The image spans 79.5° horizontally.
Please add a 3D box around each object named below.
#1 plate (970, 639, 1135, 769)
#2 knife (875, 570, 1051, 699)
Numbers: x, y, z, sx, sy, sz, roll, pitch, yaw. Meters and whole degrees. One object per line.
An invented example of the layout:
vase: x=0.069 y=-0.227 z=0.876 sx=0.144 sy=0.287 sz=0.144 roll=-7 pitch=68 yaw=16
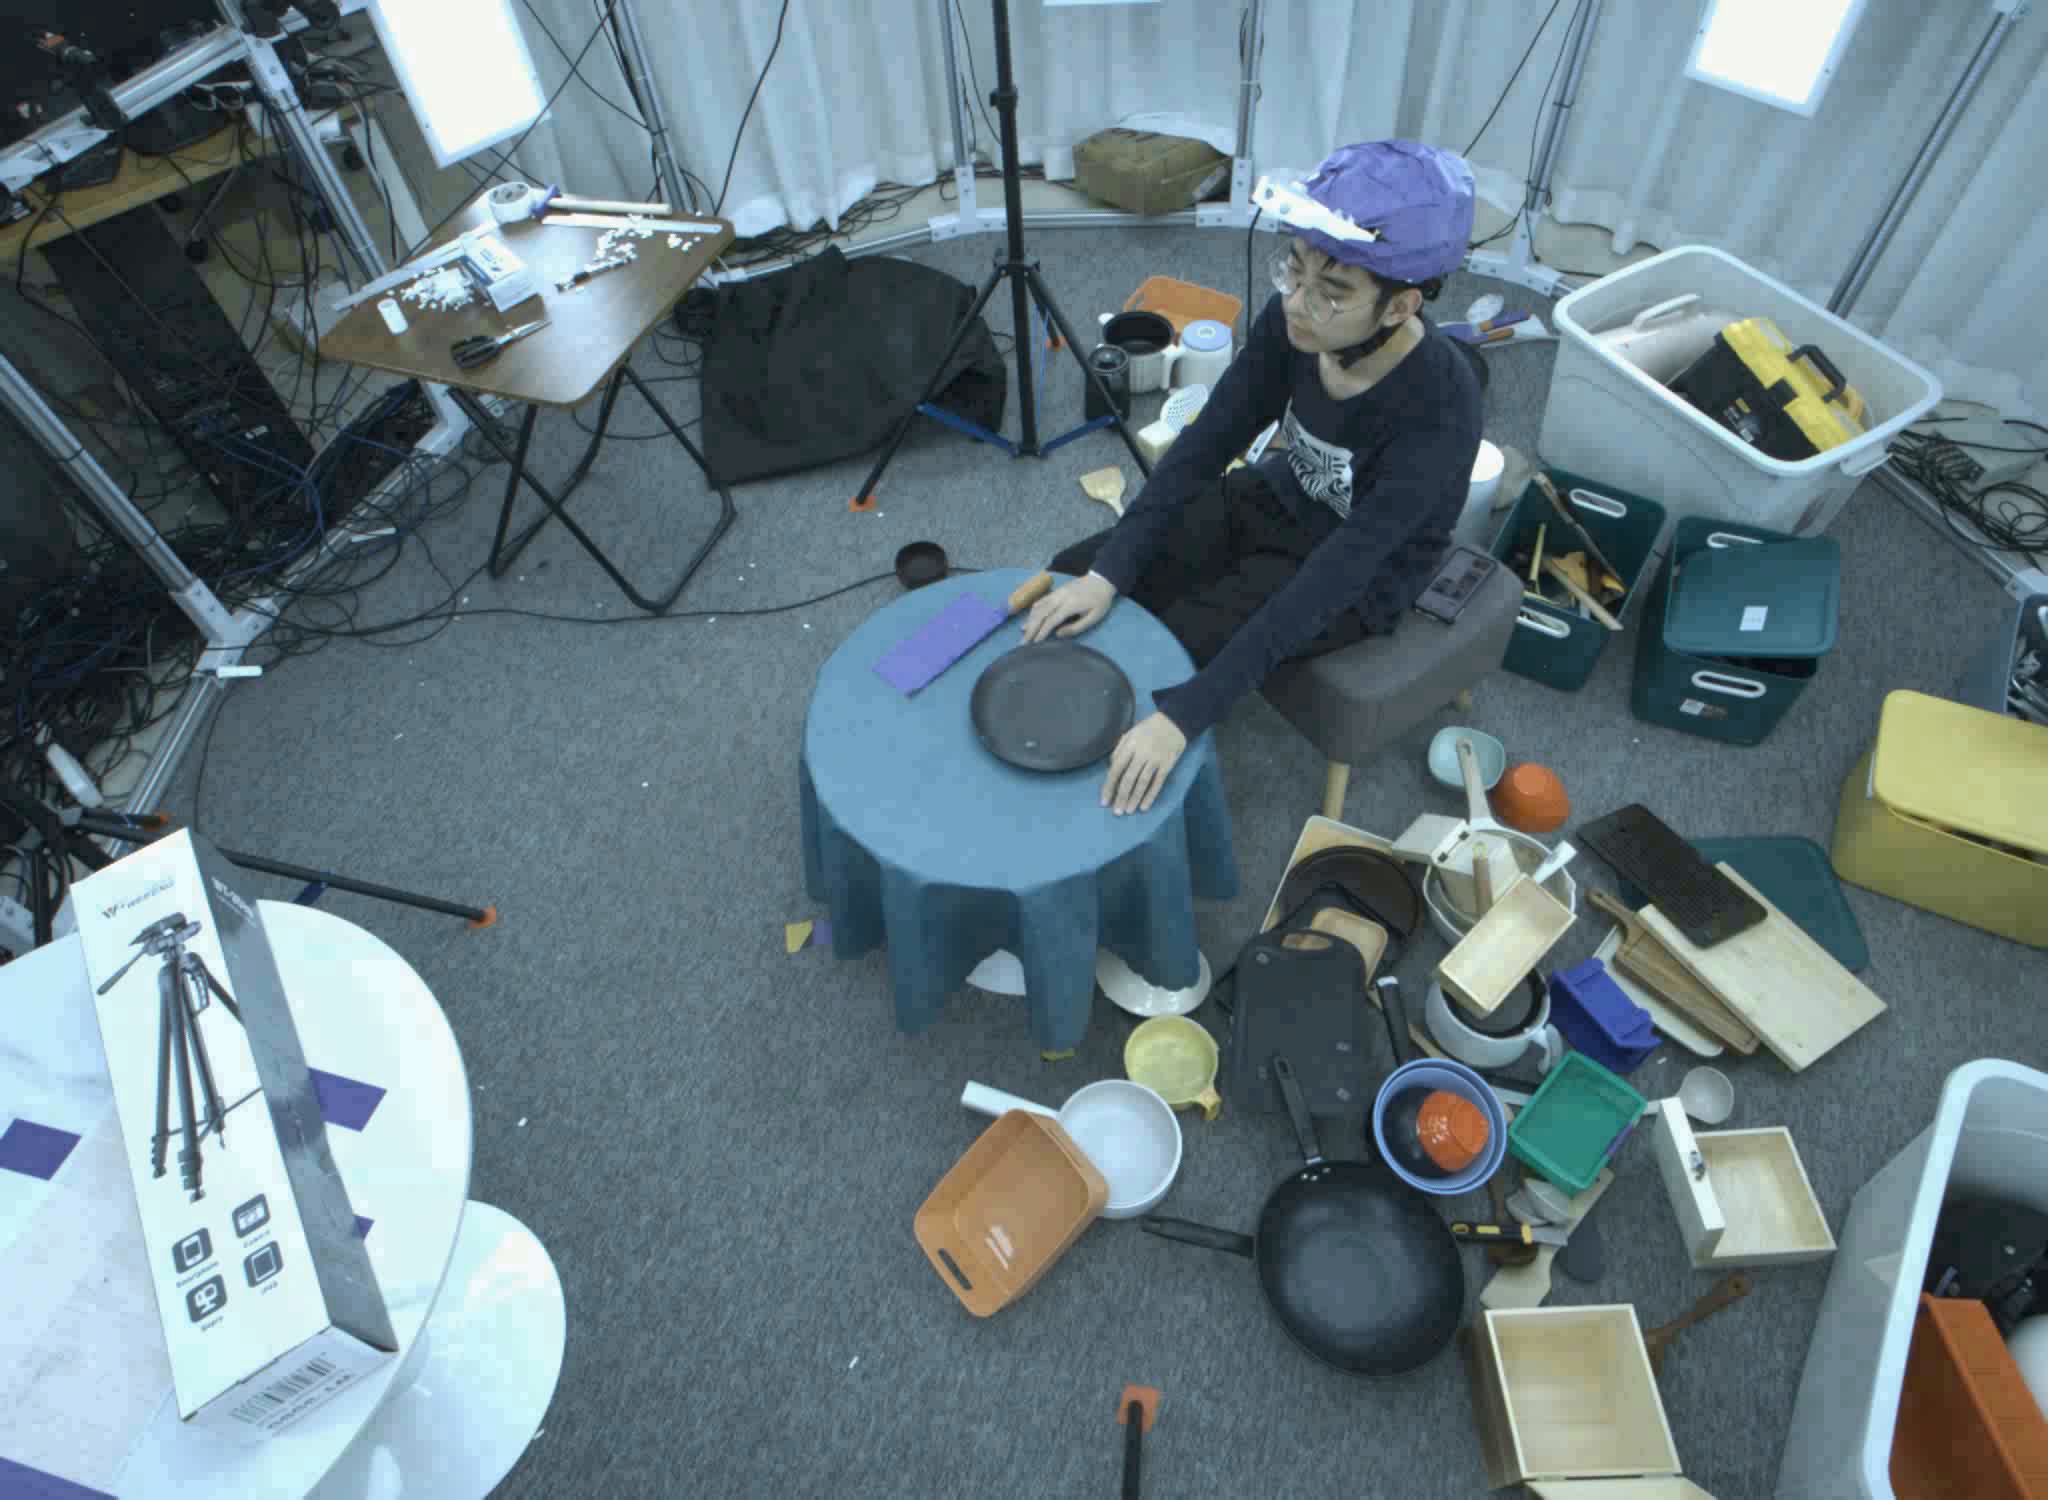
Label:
plate: x=0.042 y=-0.066 z=1.828 sx=0.244 sy=0.023 sz=0.242 roll=0 pitch=55 yaw=1
knife: x=-0.097 y=-0.199 z=1.924 sx=0.102 sy=0.032 sz=0.317 roll=38 pitch=64 yaw=24
